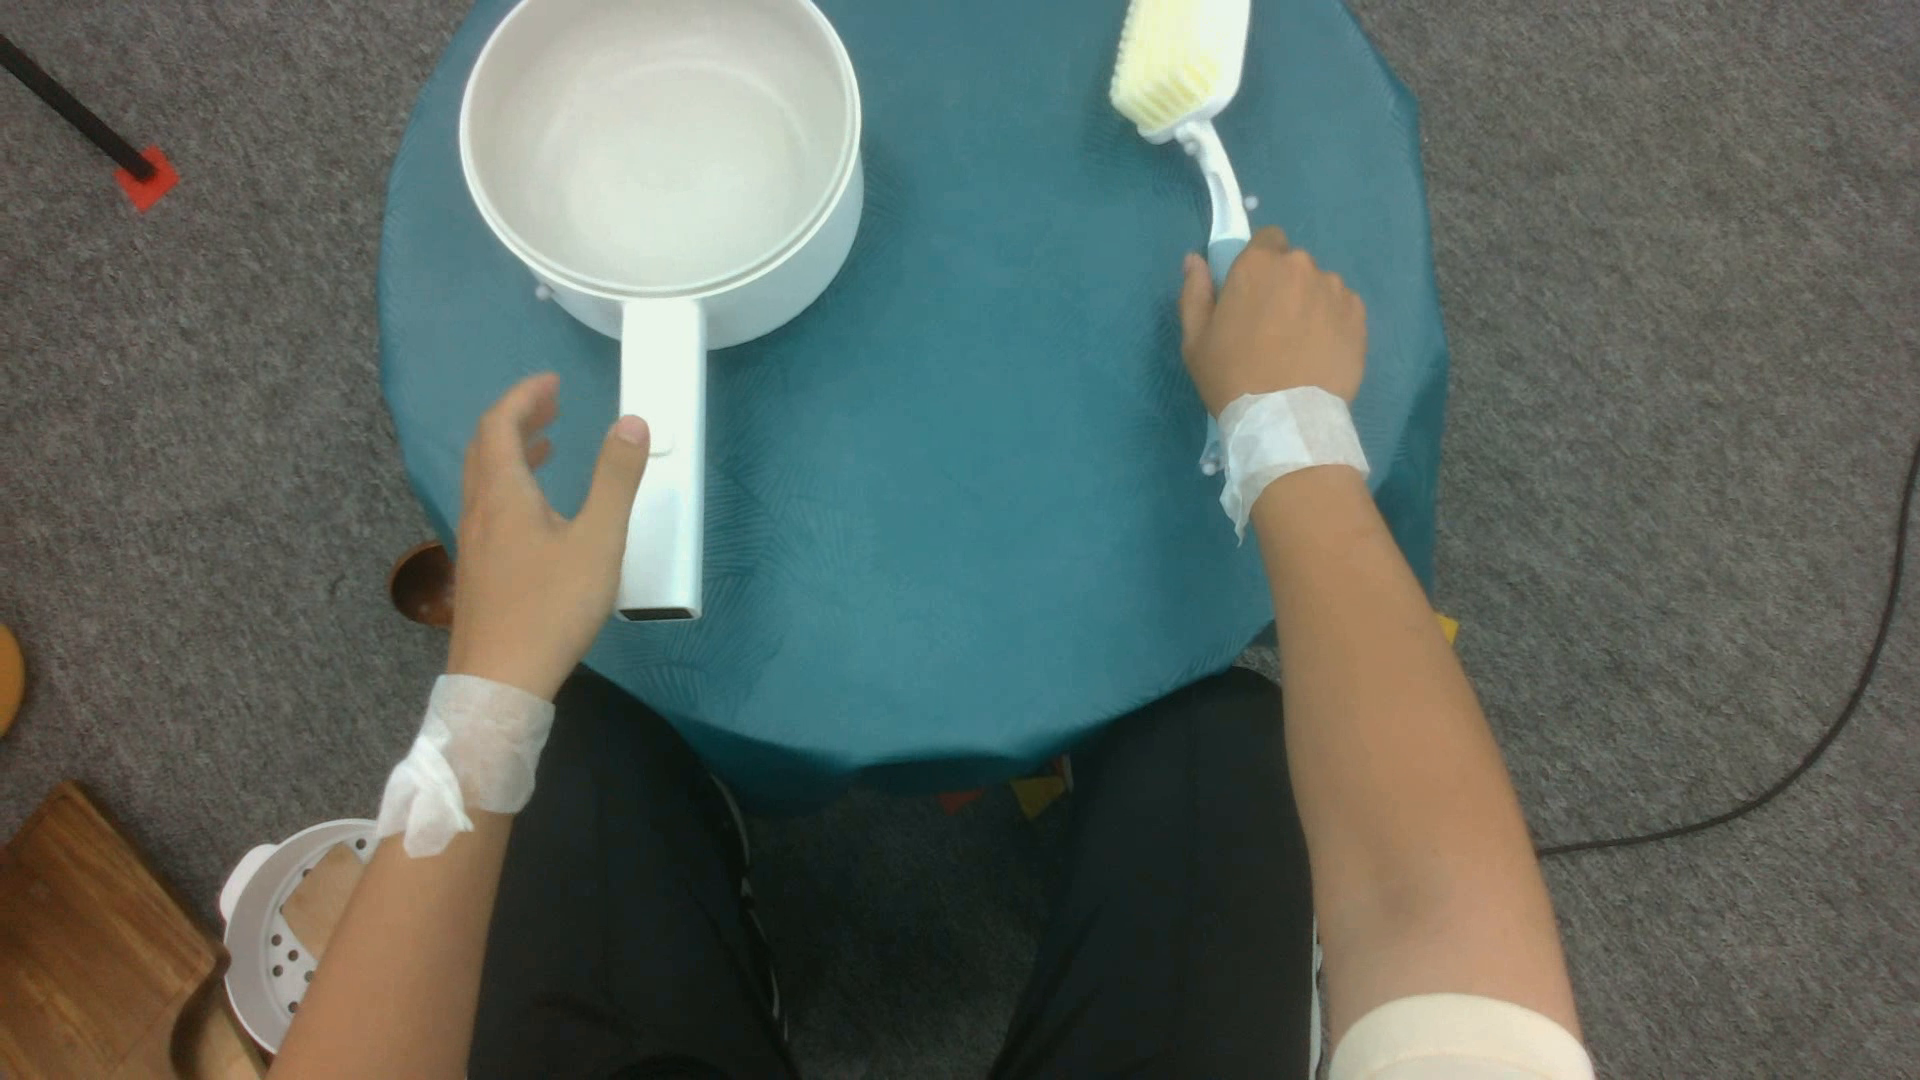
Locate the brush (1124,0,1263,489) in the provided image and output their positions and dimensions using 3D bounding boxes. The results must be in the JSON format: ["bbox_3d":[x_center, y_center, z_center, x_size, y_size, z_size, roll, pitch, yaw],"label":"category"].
[{"bbox_3d":[0.133,-0.190,0.762,0.084,0.083,0.326,4,74,-4],"label":"brush"}]

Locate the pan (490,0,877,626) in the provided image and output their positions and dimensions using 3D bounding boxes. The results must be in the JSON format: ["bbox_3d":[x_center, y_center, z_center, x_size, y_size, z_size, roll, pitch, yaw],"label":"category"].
[{"bbox_3d":[-0.141,-0.125,0.741,0.201,0.102,0.355,-2,76,-1],"label":"pan"}]
